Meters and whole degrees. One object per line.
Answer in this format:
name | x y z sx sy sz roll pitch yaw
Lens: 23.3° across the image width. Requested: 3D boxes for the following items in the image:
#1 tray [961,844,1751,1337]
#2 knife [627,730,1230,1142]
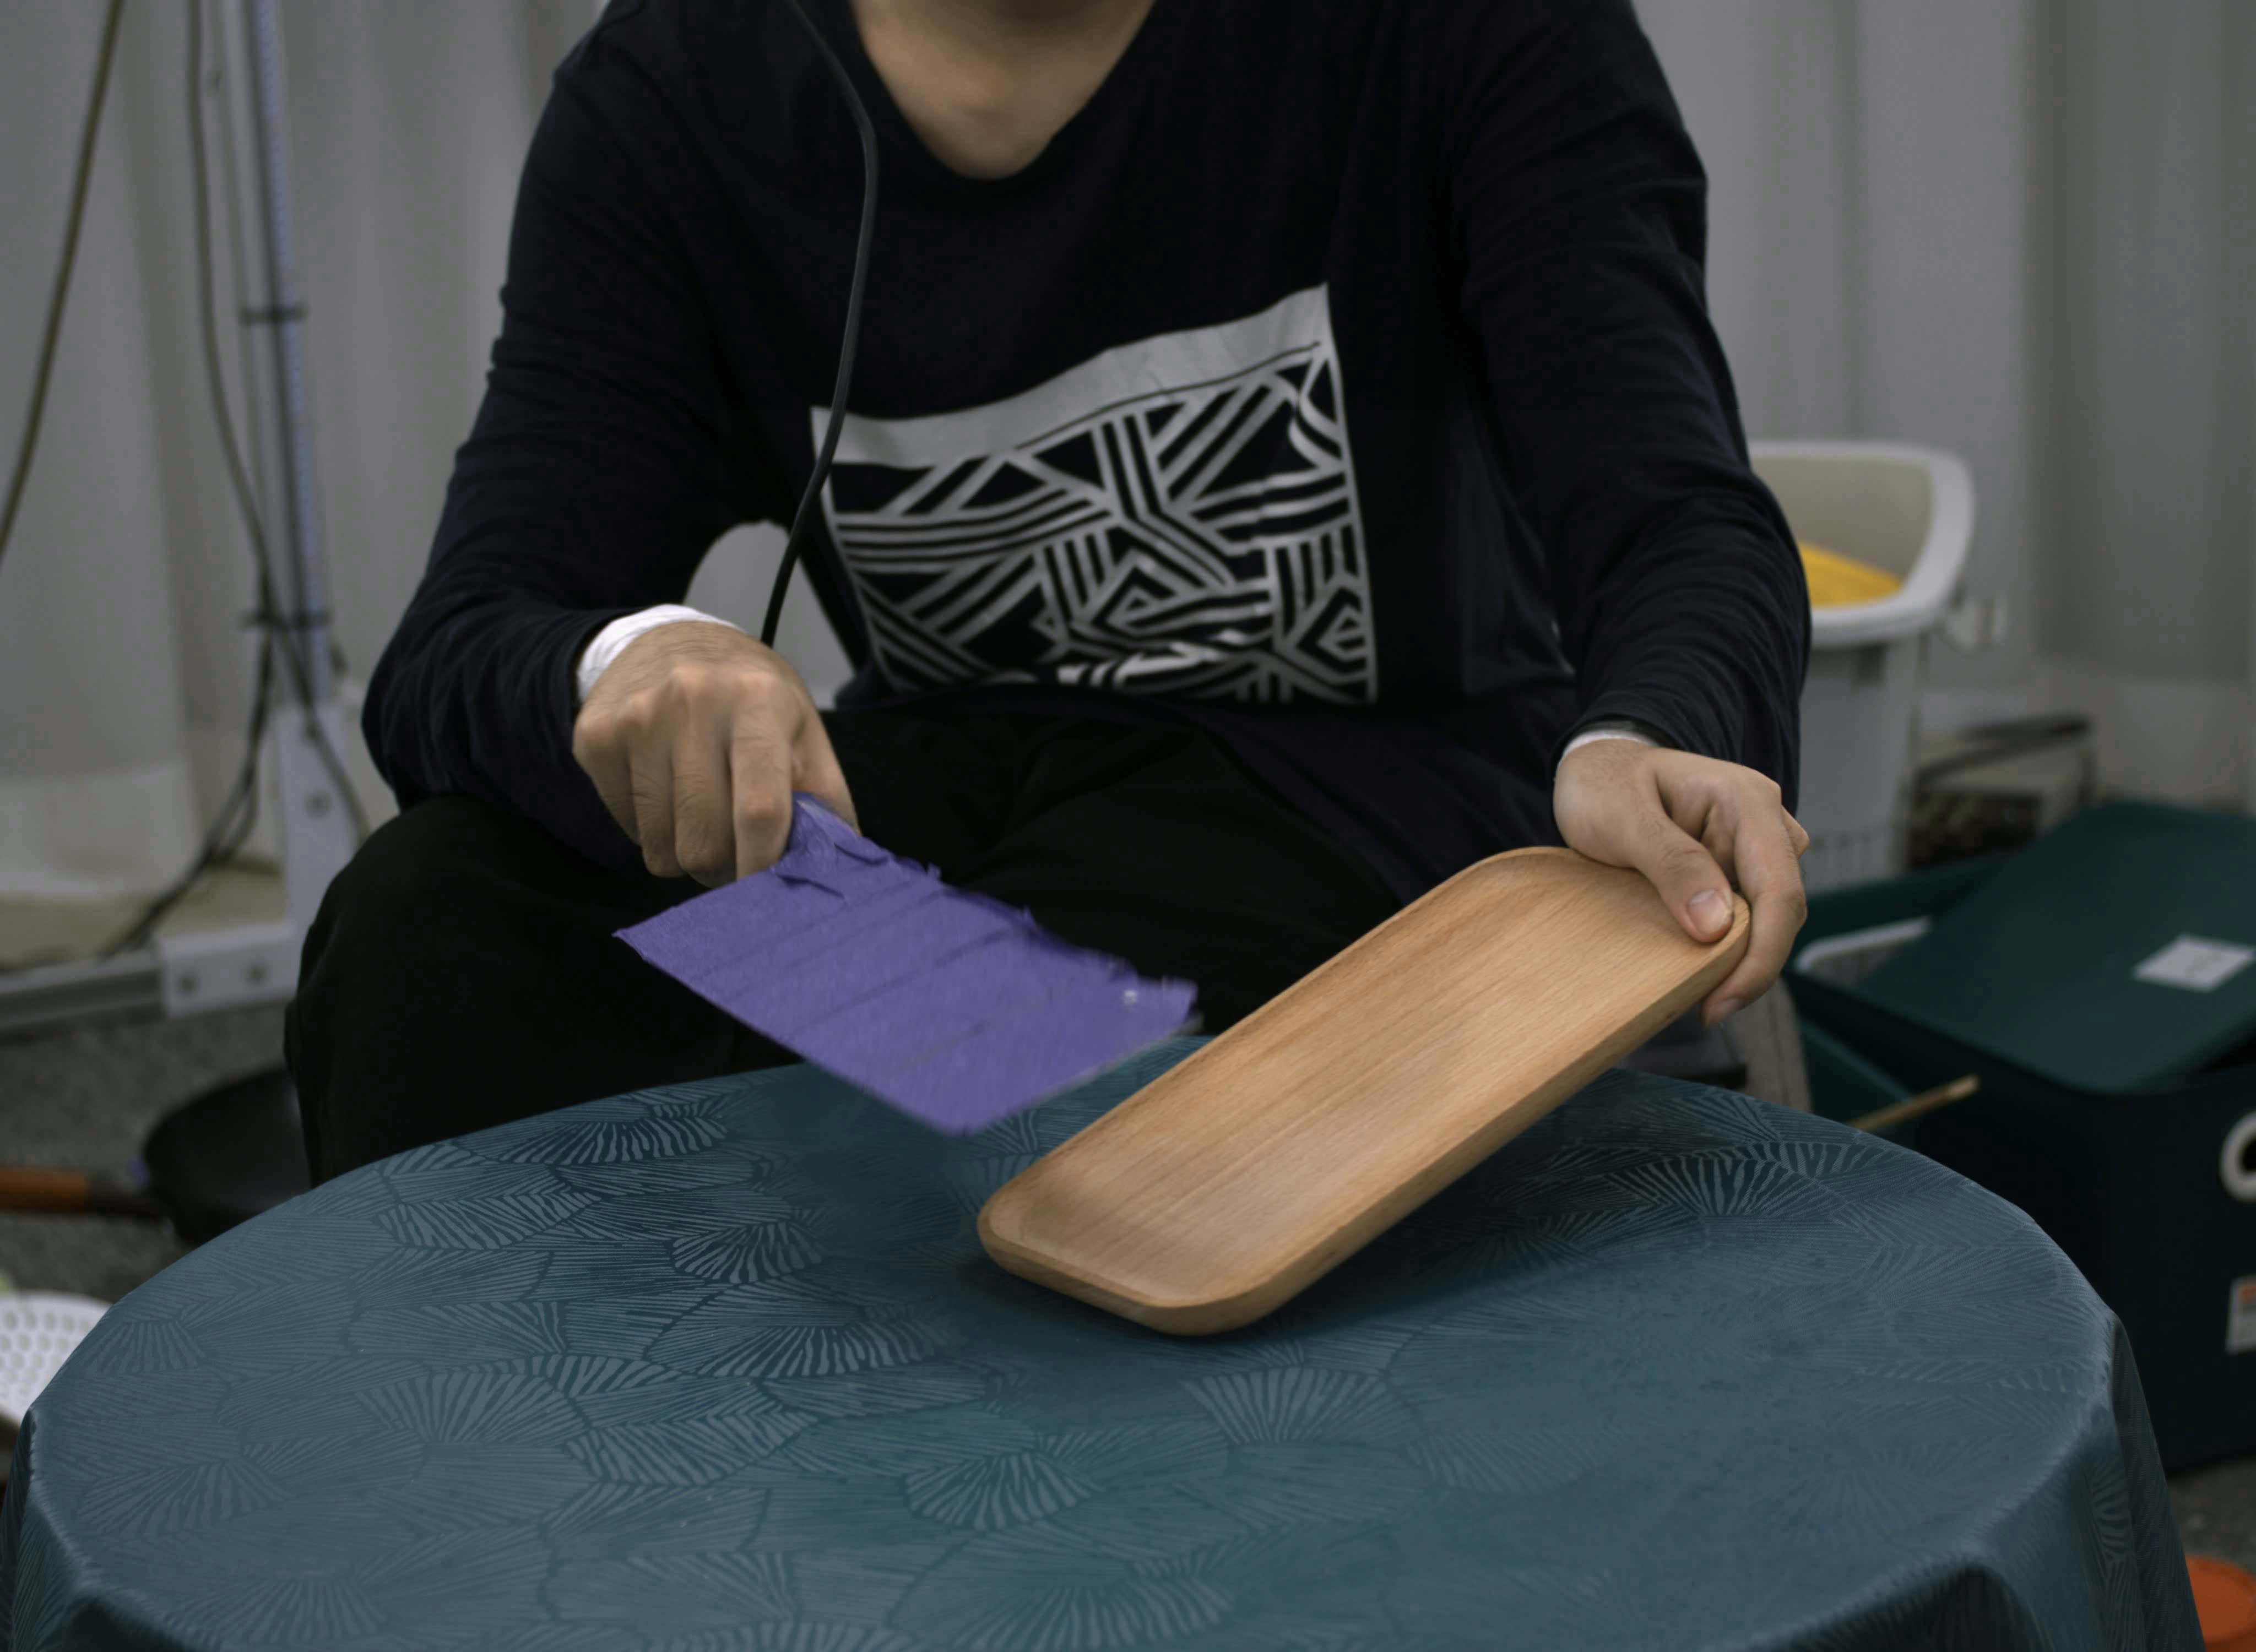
tray | 0.072 0.079 1.675 0.251 0.022 0.131 -32 26 -26
knife | -0.095 0.030 1.692 0.104 0.032 0.318 -22 25 -27
